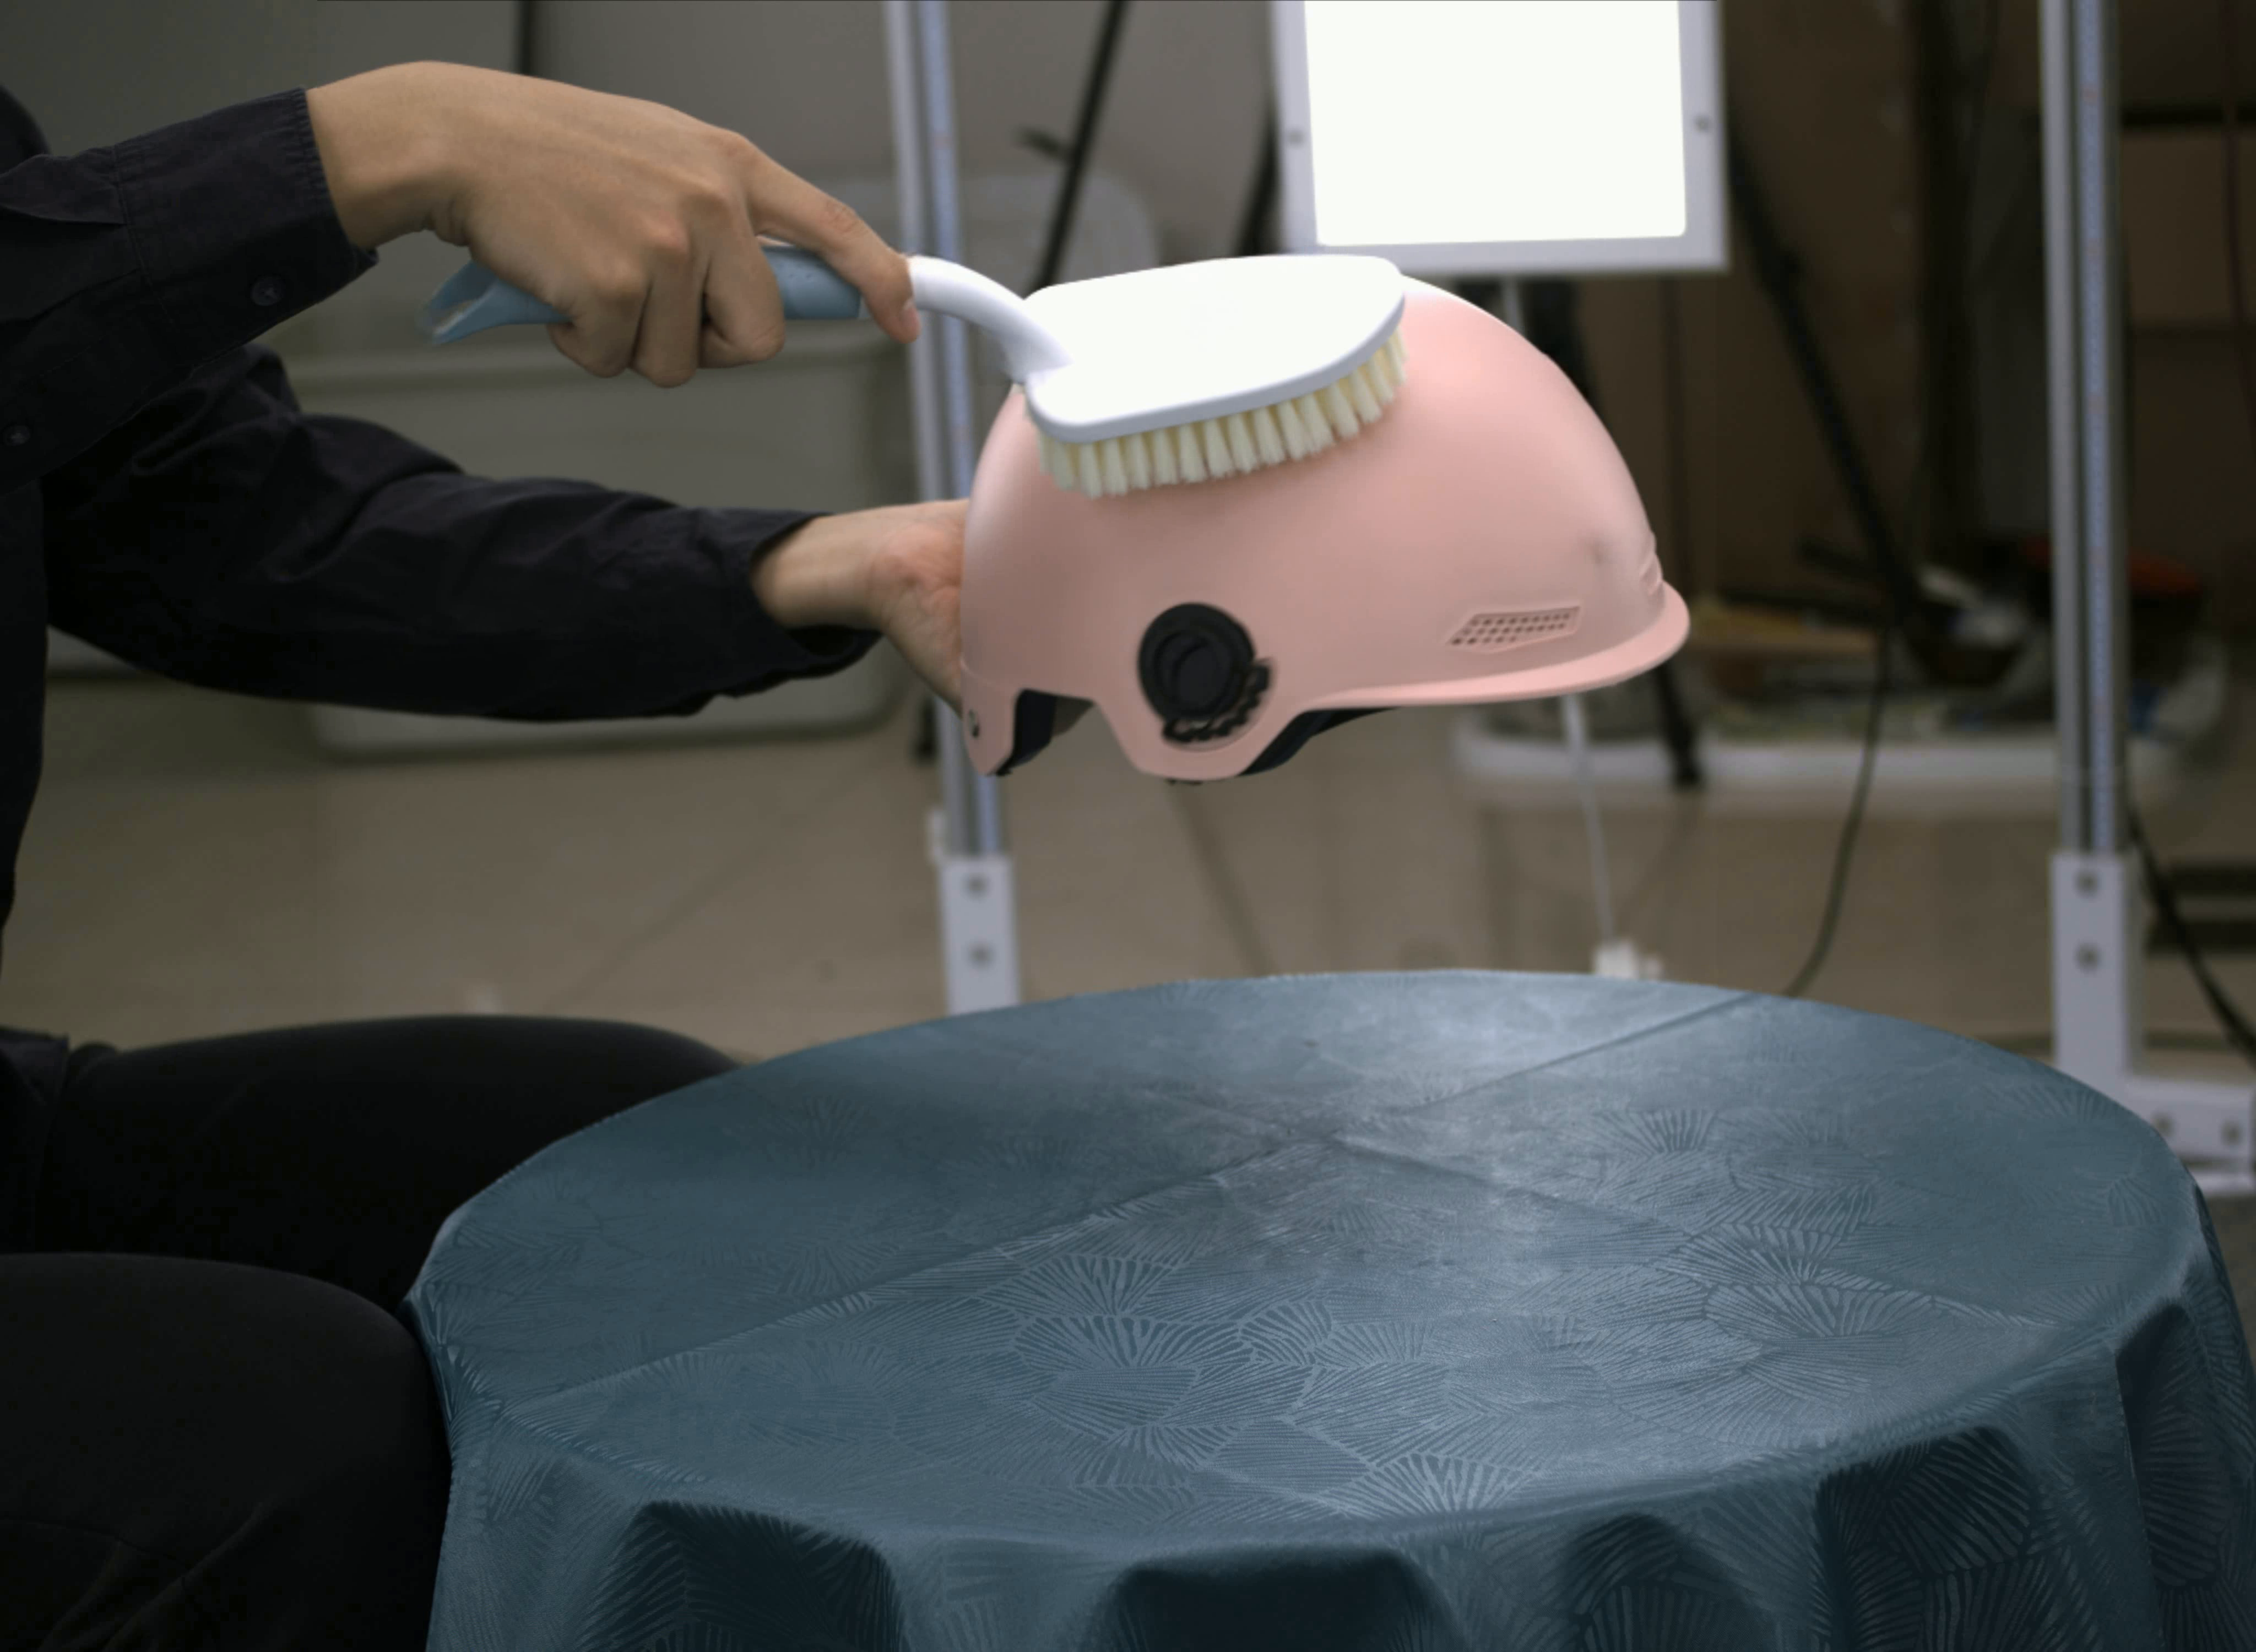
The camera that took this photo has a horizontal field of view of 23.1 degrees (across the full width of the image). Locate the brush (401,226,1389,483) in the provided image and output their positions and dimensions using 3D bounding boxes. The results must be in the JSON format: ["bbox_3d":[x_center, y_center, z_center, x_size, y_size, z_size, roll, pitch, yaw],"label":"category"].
[{"bbox_3d":[-0.074,-0.153,1.785,0.322,0.085,0.083,-2,9,-10],"label":"brush"}]

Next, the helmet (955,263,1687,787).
[{"bbox_3d":[0.059,-0.116,1.901,0.271,0.159,0.228,3,18,38],"label":"helmet"}]
